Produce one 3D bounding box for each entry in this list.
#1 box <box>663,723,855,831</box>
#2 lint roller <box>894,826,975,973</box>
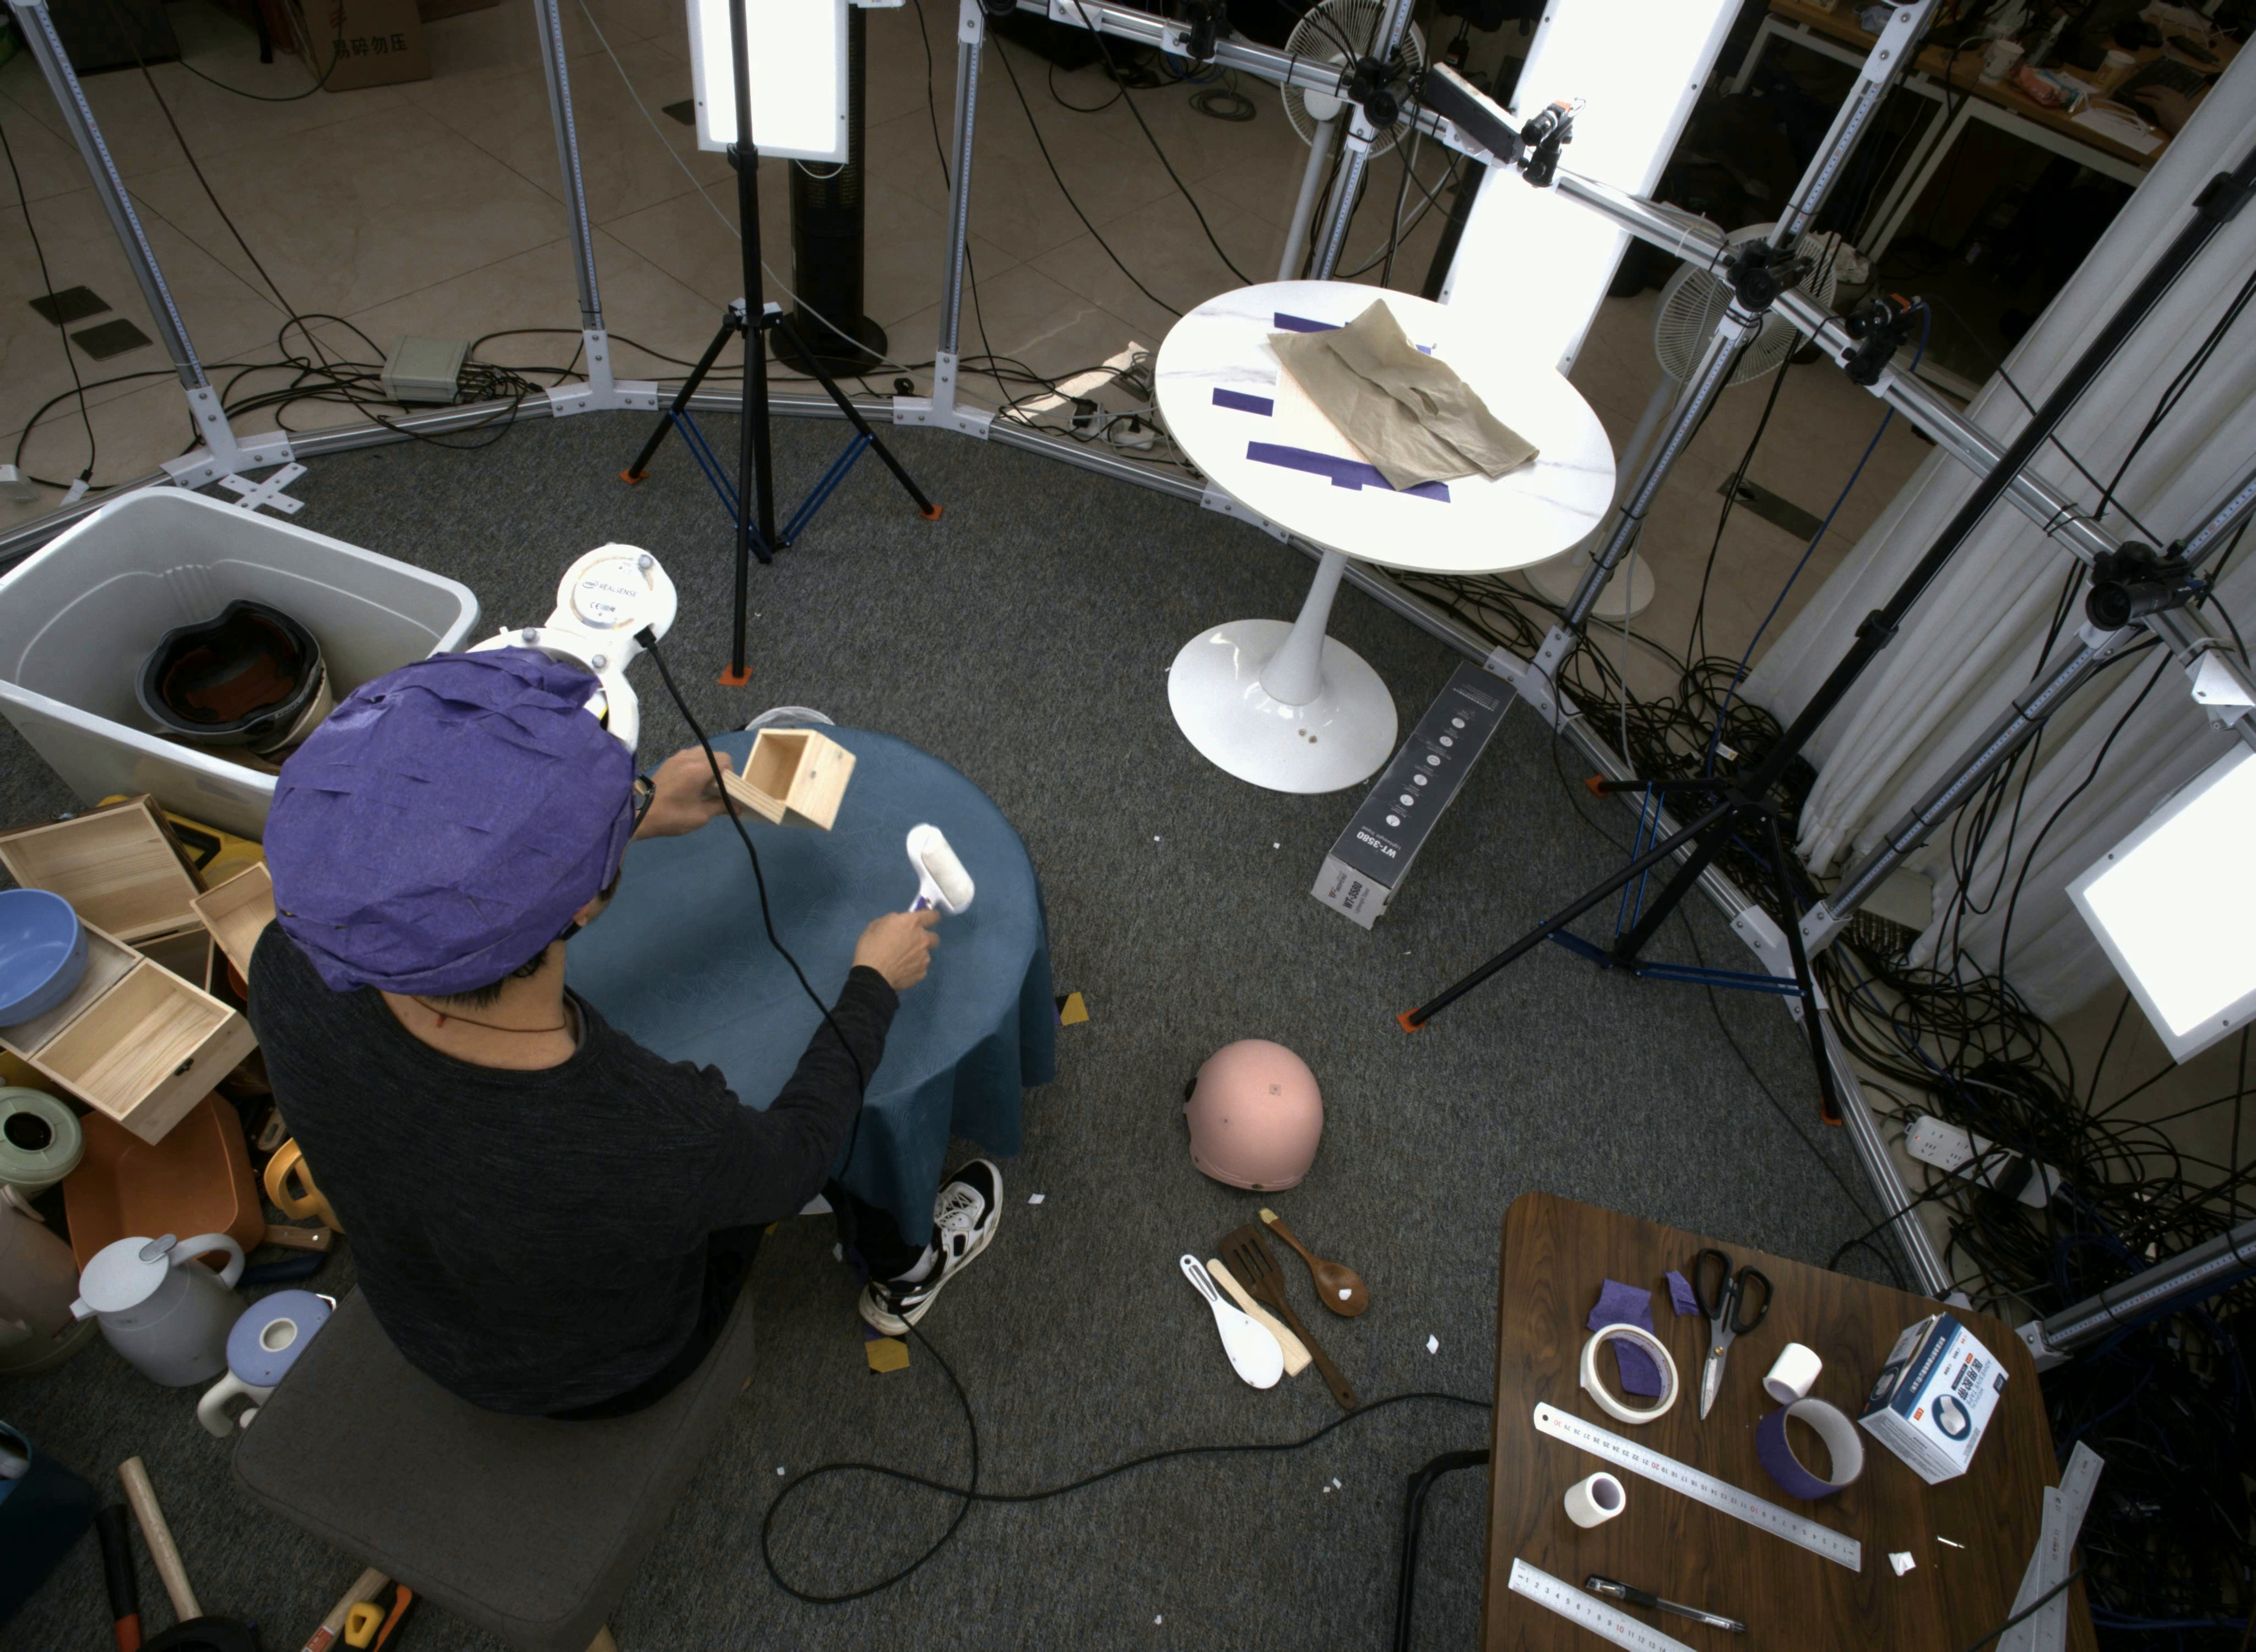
[{"bbox_3d":[-0.440,-0.073,1.554,0.099,0.191,0.134,5,70,32],"label":"box"},{"bbox_3d":[-0.242,0.099,1.585,0.049,0.138,0.178,-9,43,19],"label":"lint roller"}]
